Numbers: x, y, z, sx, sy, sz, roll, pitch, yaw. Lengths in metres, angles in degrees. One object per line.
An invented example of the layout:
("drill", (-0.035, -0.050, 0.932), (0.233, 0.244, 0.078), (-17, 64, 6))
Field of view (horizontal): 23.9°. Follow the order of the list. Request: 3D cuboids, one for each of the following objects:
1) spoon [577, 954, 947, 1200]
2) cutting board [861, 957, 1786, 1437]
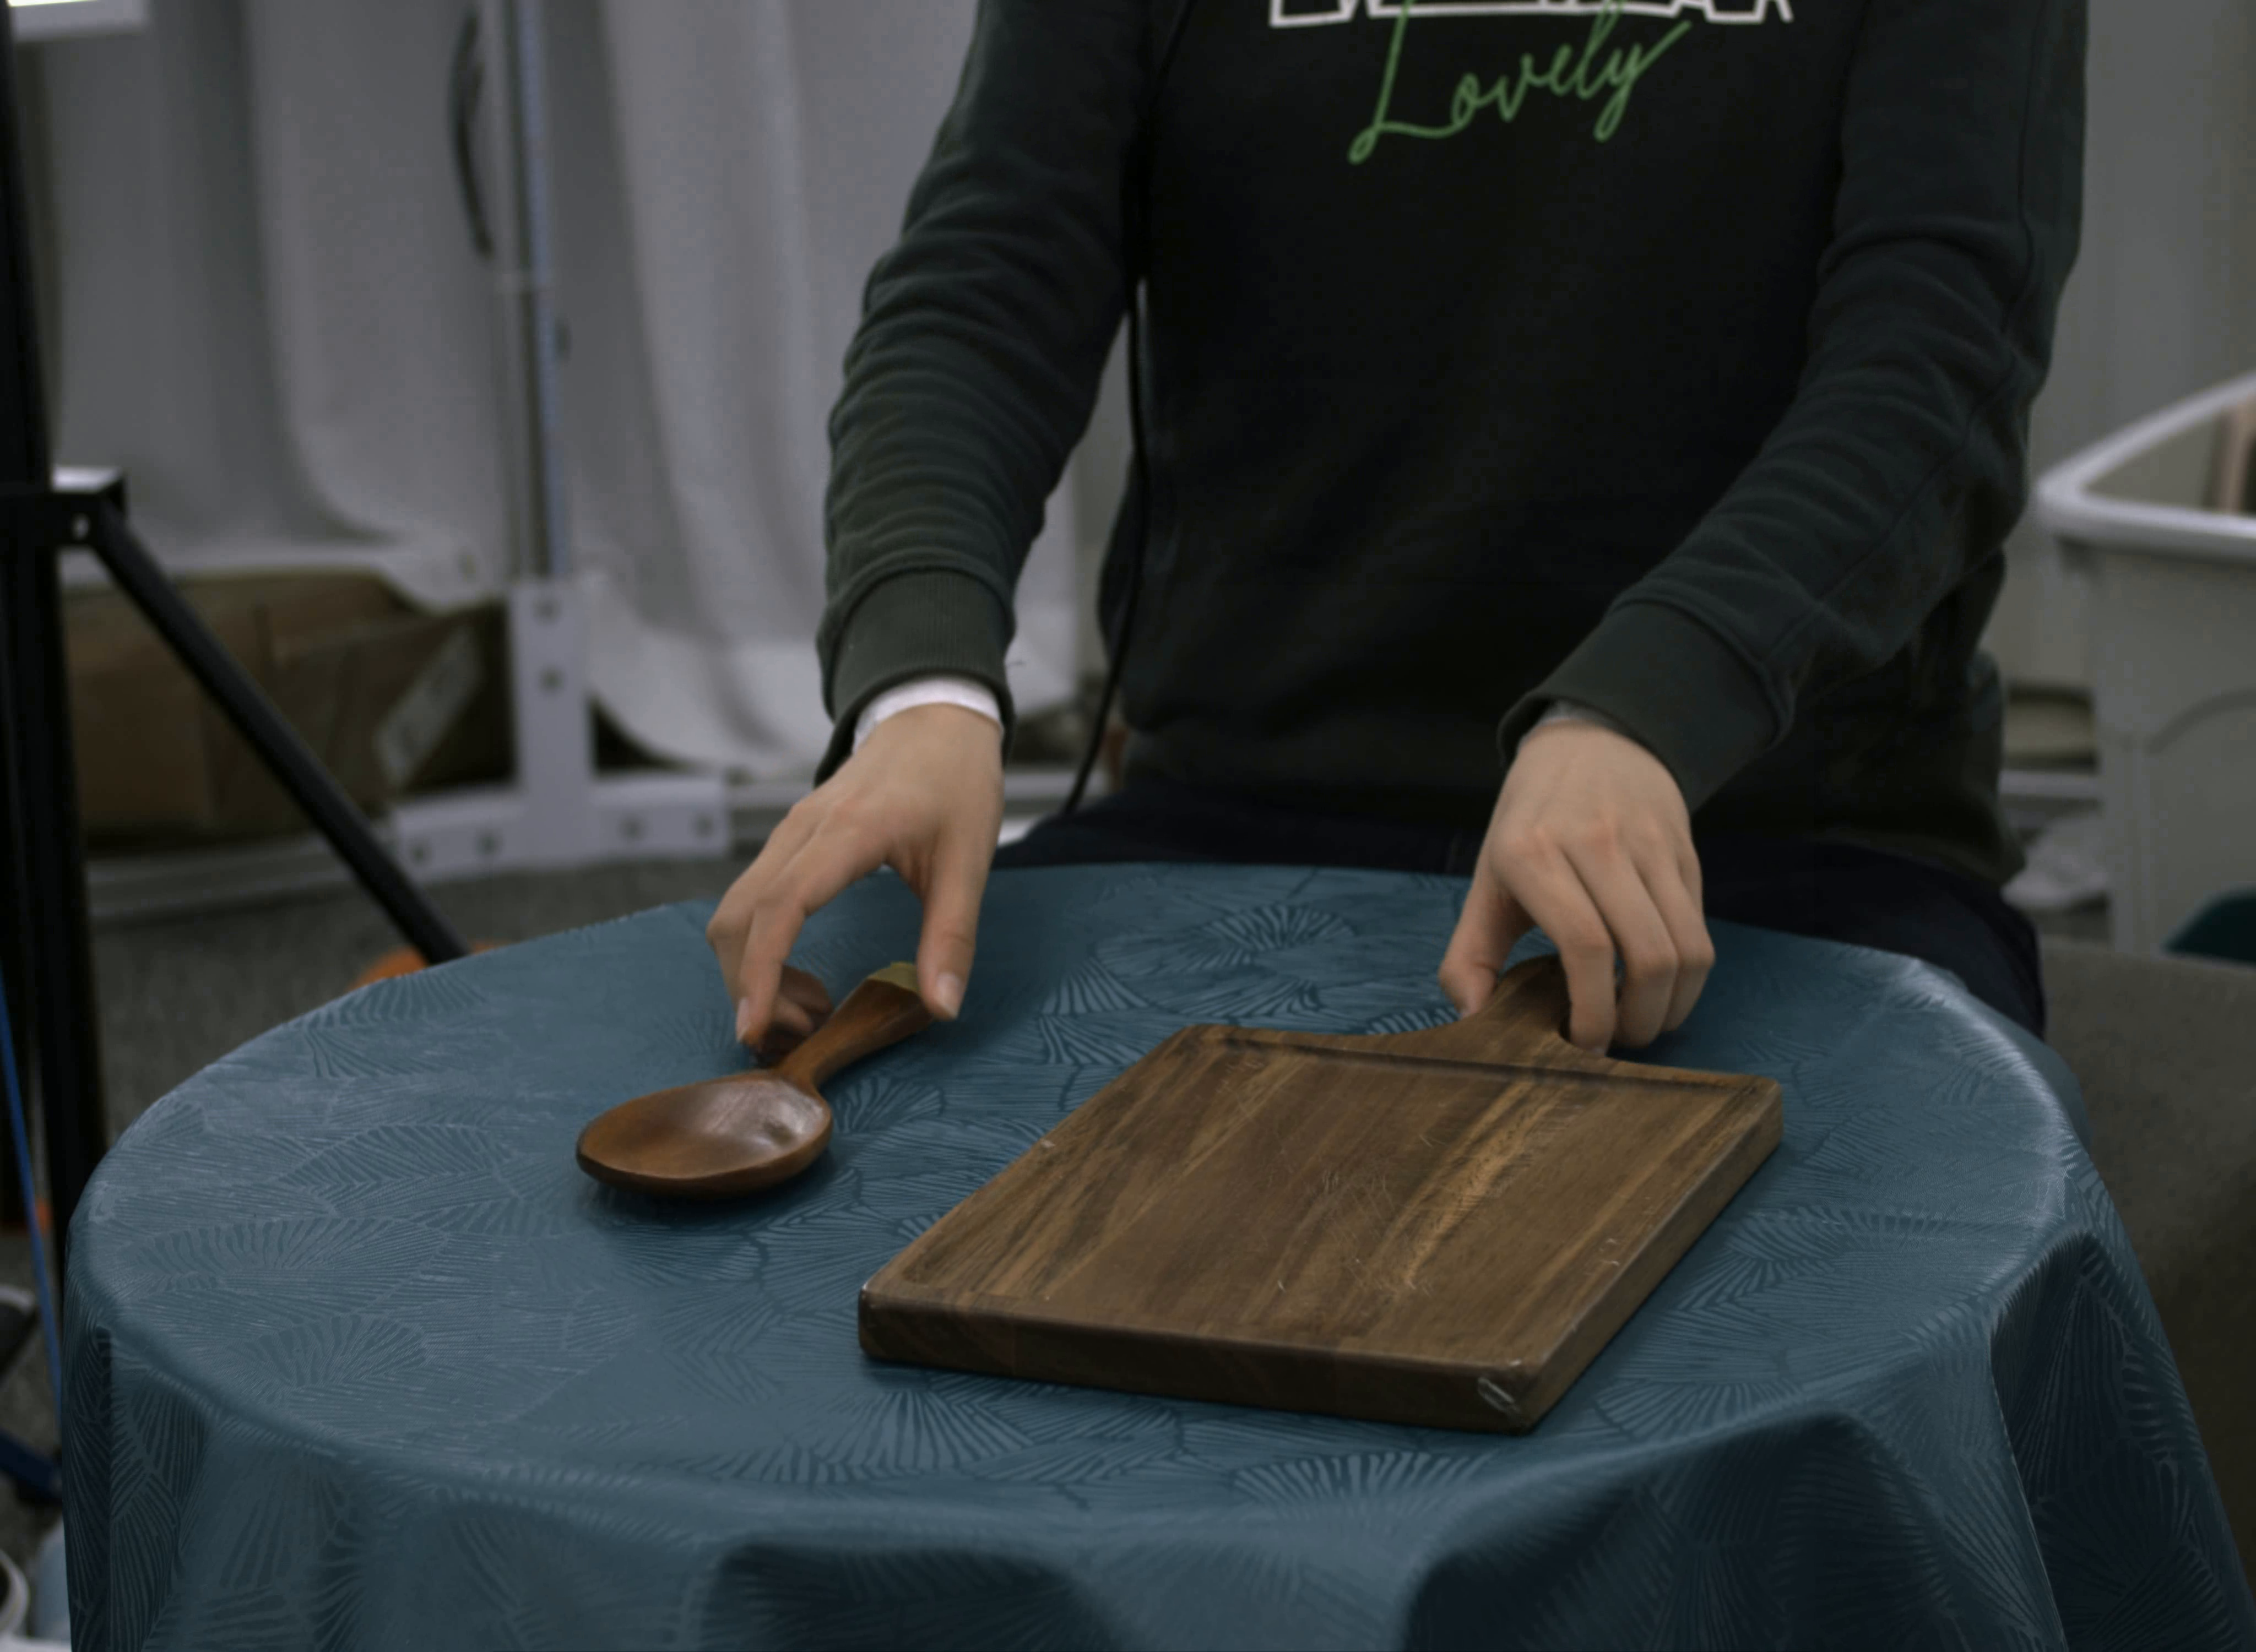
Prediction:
("spoon", (-0.103, 0.079, 1.645), (0.076, 0.017, 0.213), (1, 17, 21))
("cutting board", (0.080, 0.098, 1.547), (0.204, 0.023, 0.347), (3, 17, 23))
